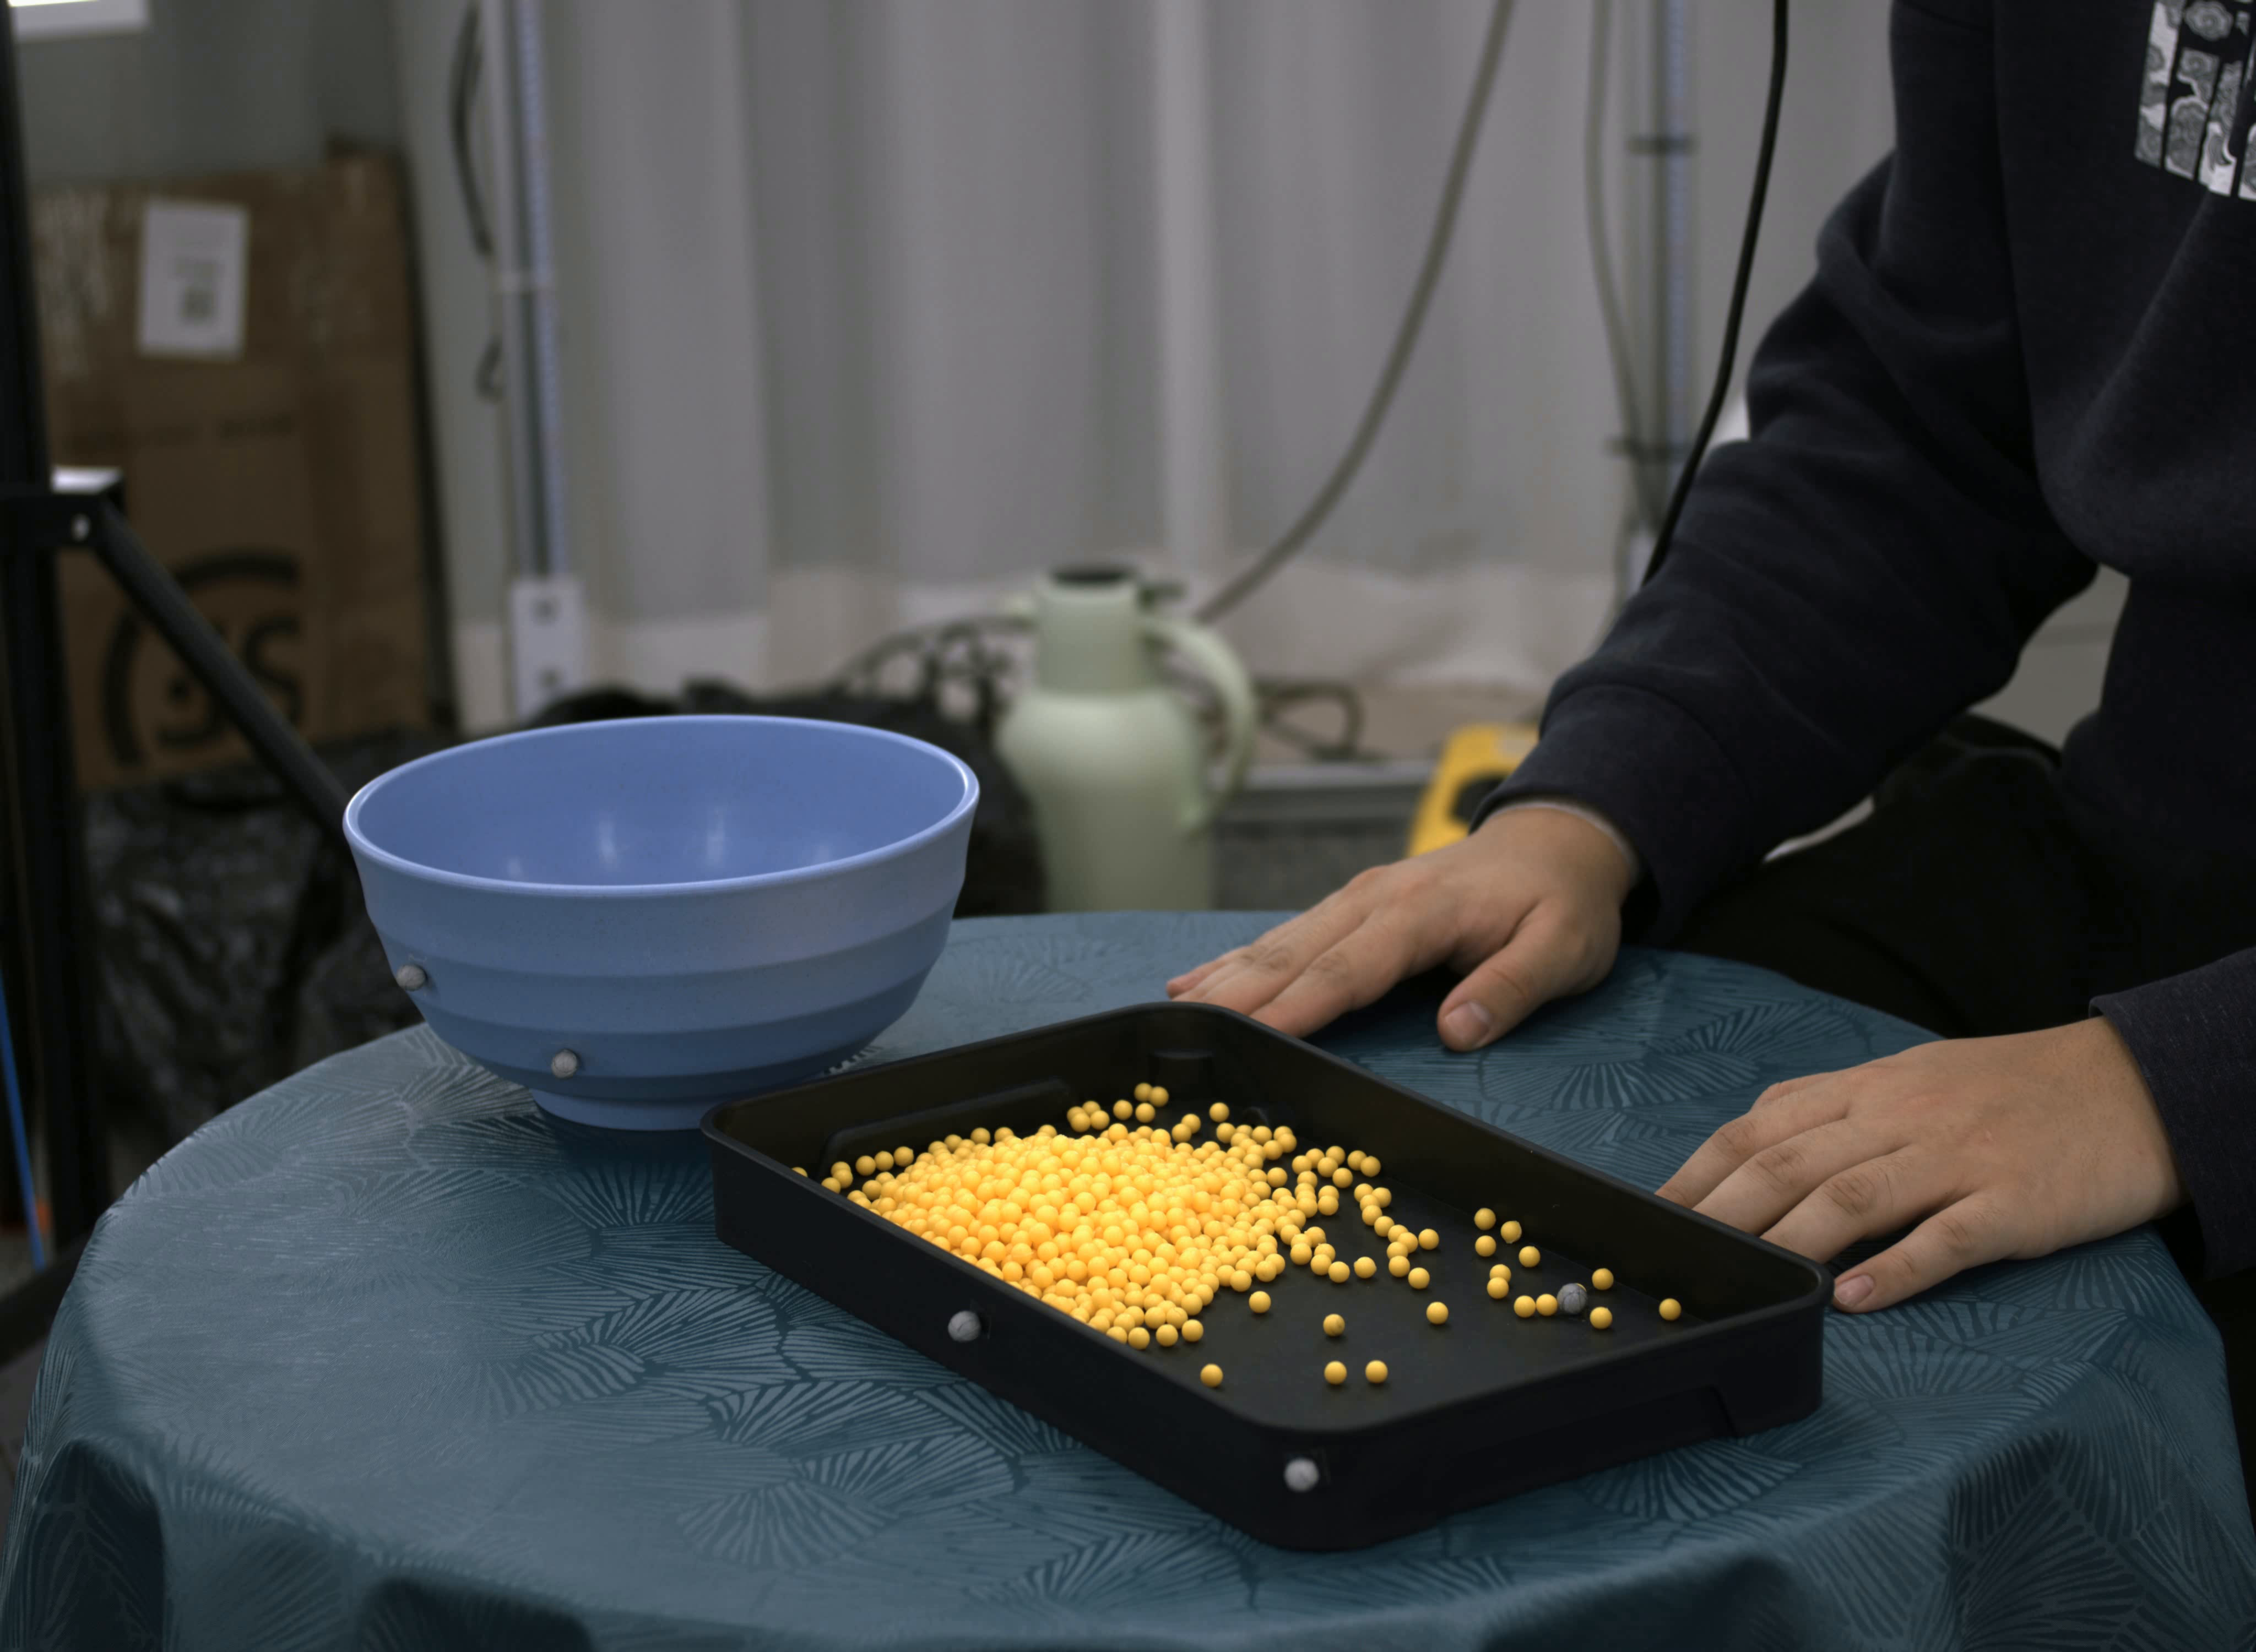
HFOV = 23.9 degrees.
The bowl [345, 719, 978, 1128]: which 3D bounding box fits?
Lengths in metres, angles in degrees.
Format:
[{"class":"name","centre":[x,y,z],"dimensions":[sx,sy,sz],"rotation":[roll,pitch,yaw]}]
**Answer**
[{"class":"bowl","centre":[-0.141,0.035,1.659],"dimensions":[0.195,0.095,0.197],"rotation":[-4,15,0]}]

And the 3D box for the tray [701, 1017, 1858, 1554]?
[{"class":"tray","centre":[0.034,0.119,1.453],"dimensions":[0.180,0.037,0.325],"rotation":[-12,17,-32]}]
